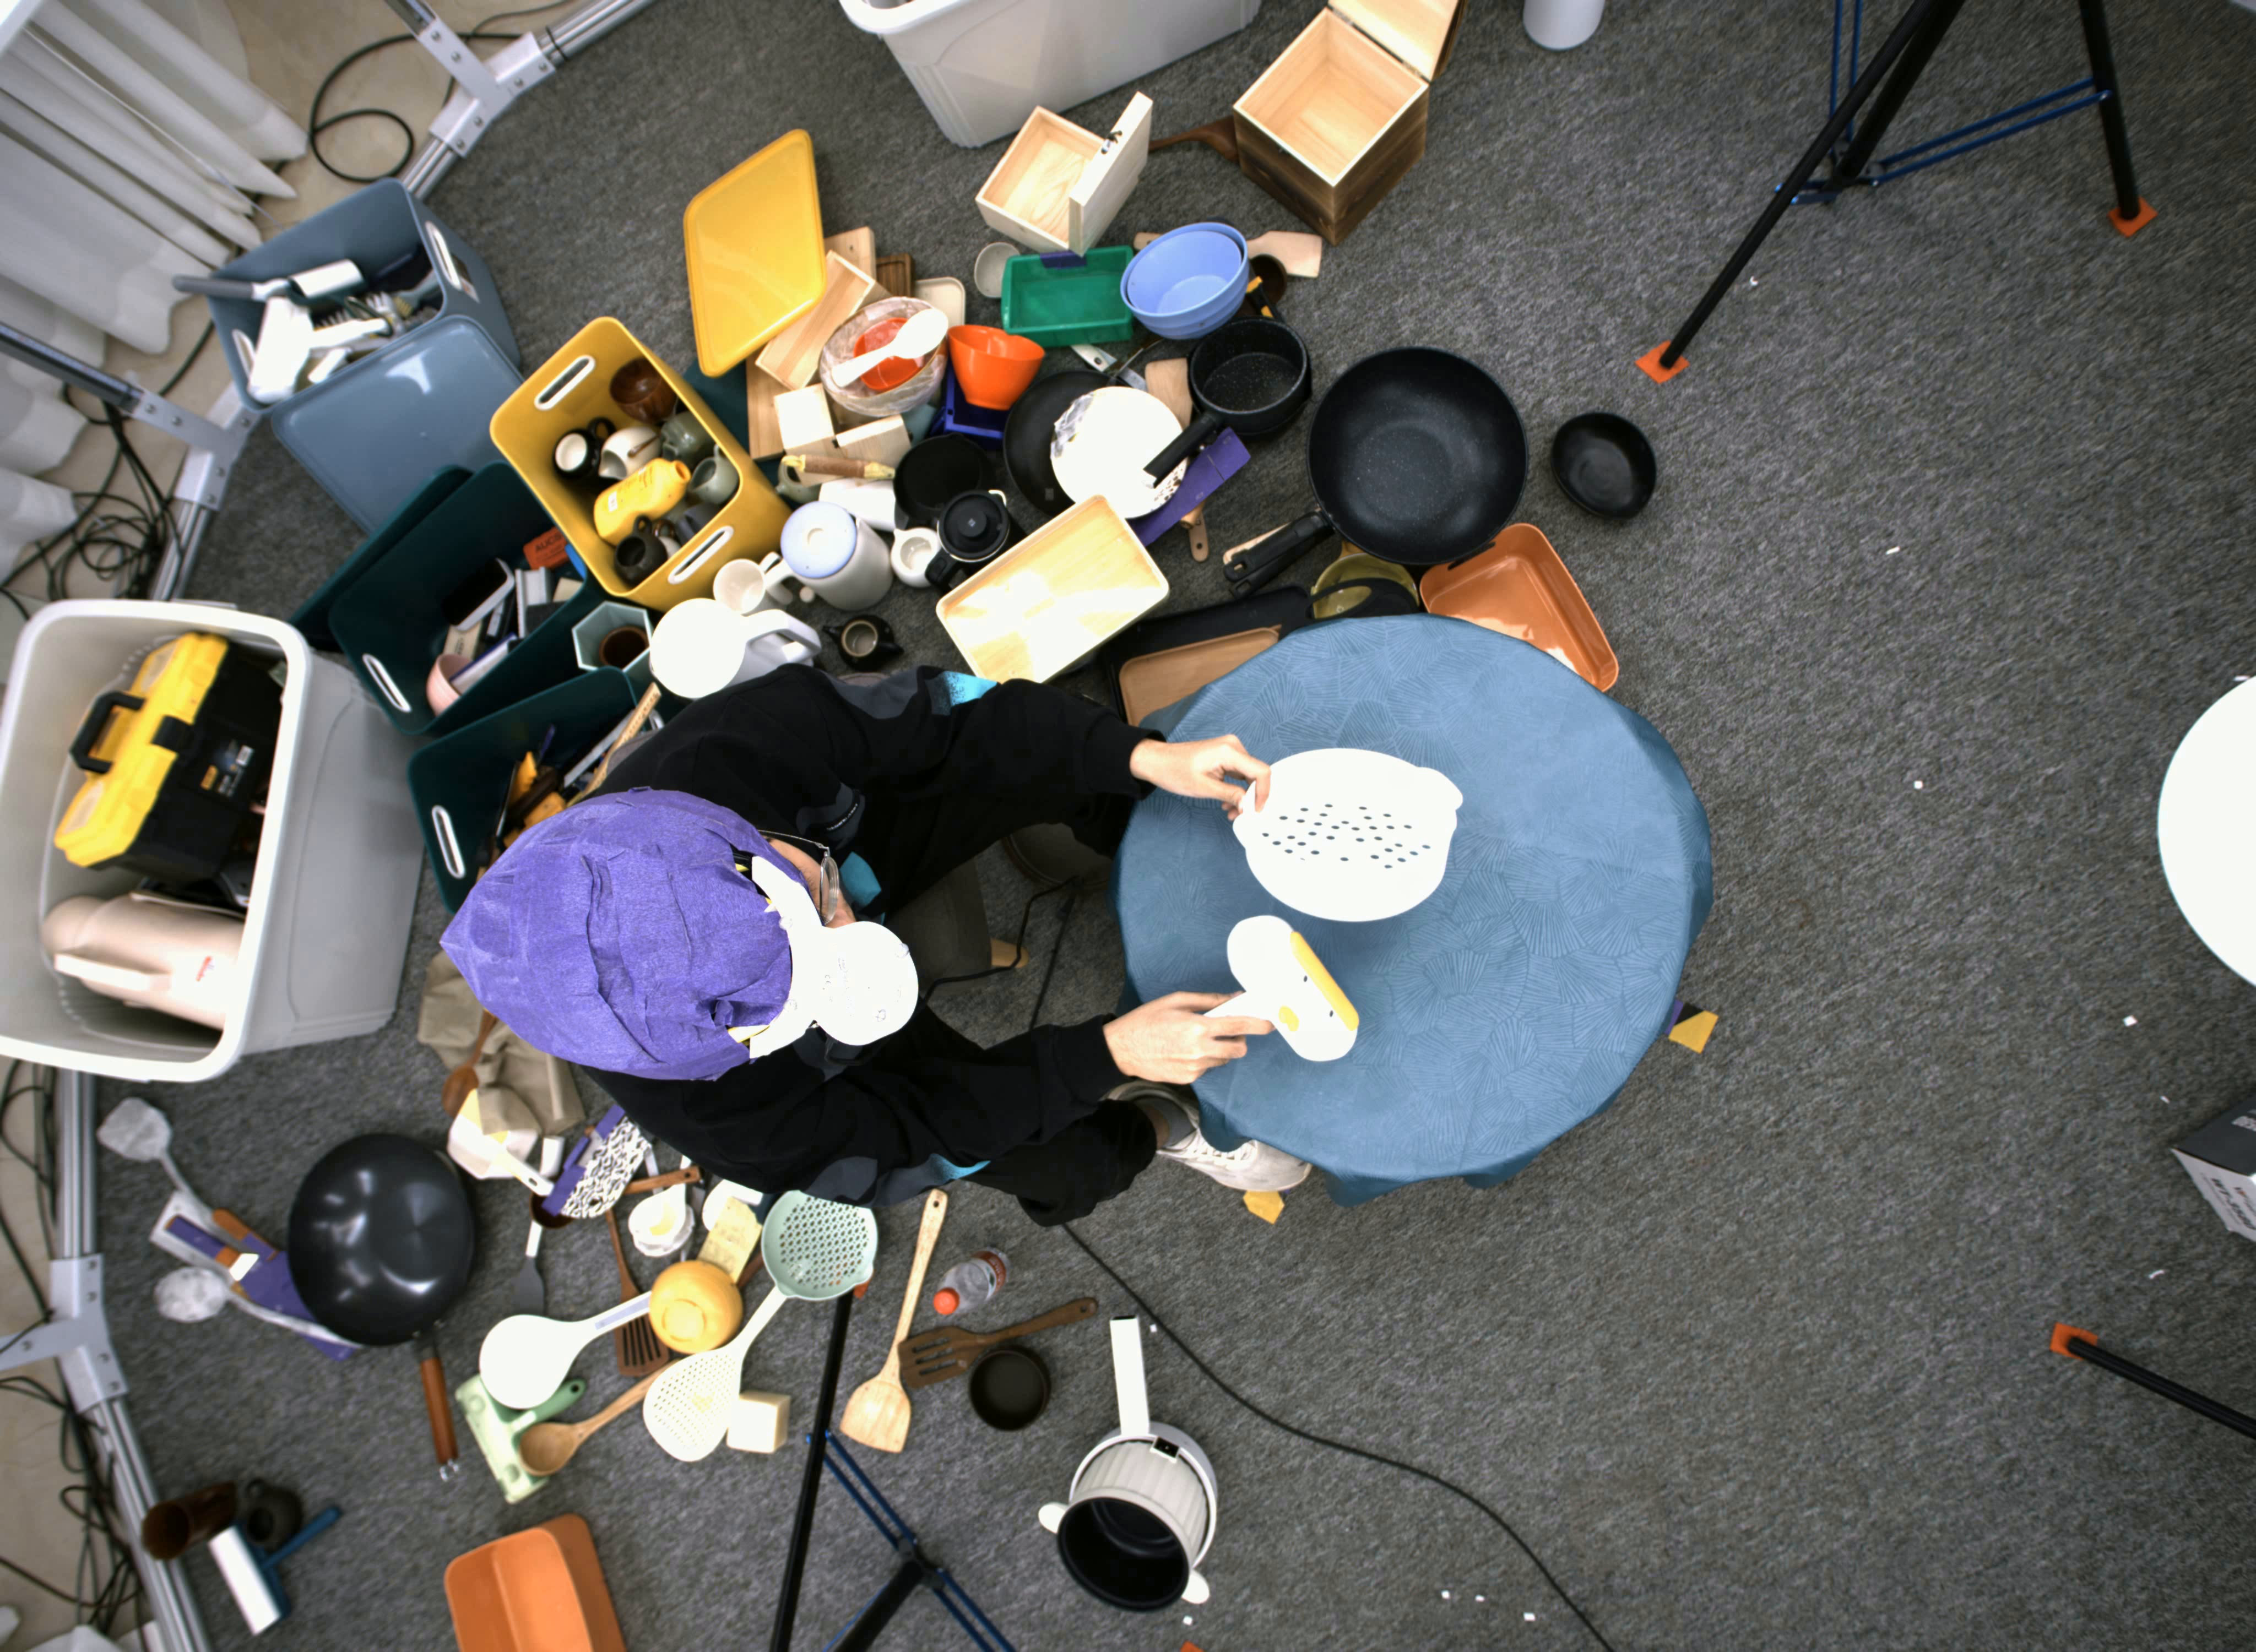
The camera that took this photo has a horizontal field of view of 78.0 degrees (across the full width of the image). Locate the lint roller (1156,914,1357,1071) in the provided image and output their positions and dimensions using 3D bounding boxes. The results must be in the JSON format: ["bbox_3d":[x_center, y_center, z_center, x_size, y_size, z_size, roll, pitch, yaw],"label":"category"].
[{"bbox_3d":[0.111,0.185,1.380,0.195,0.195,0.072,-25,41,25],"label":"lint roller"}]

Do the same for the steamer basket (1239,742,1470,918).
[{"bbox_3d":[0.216,0.001,1.323,0.229,0.071,0.198,-14,42,-17],"label":"steamer basket"}]
